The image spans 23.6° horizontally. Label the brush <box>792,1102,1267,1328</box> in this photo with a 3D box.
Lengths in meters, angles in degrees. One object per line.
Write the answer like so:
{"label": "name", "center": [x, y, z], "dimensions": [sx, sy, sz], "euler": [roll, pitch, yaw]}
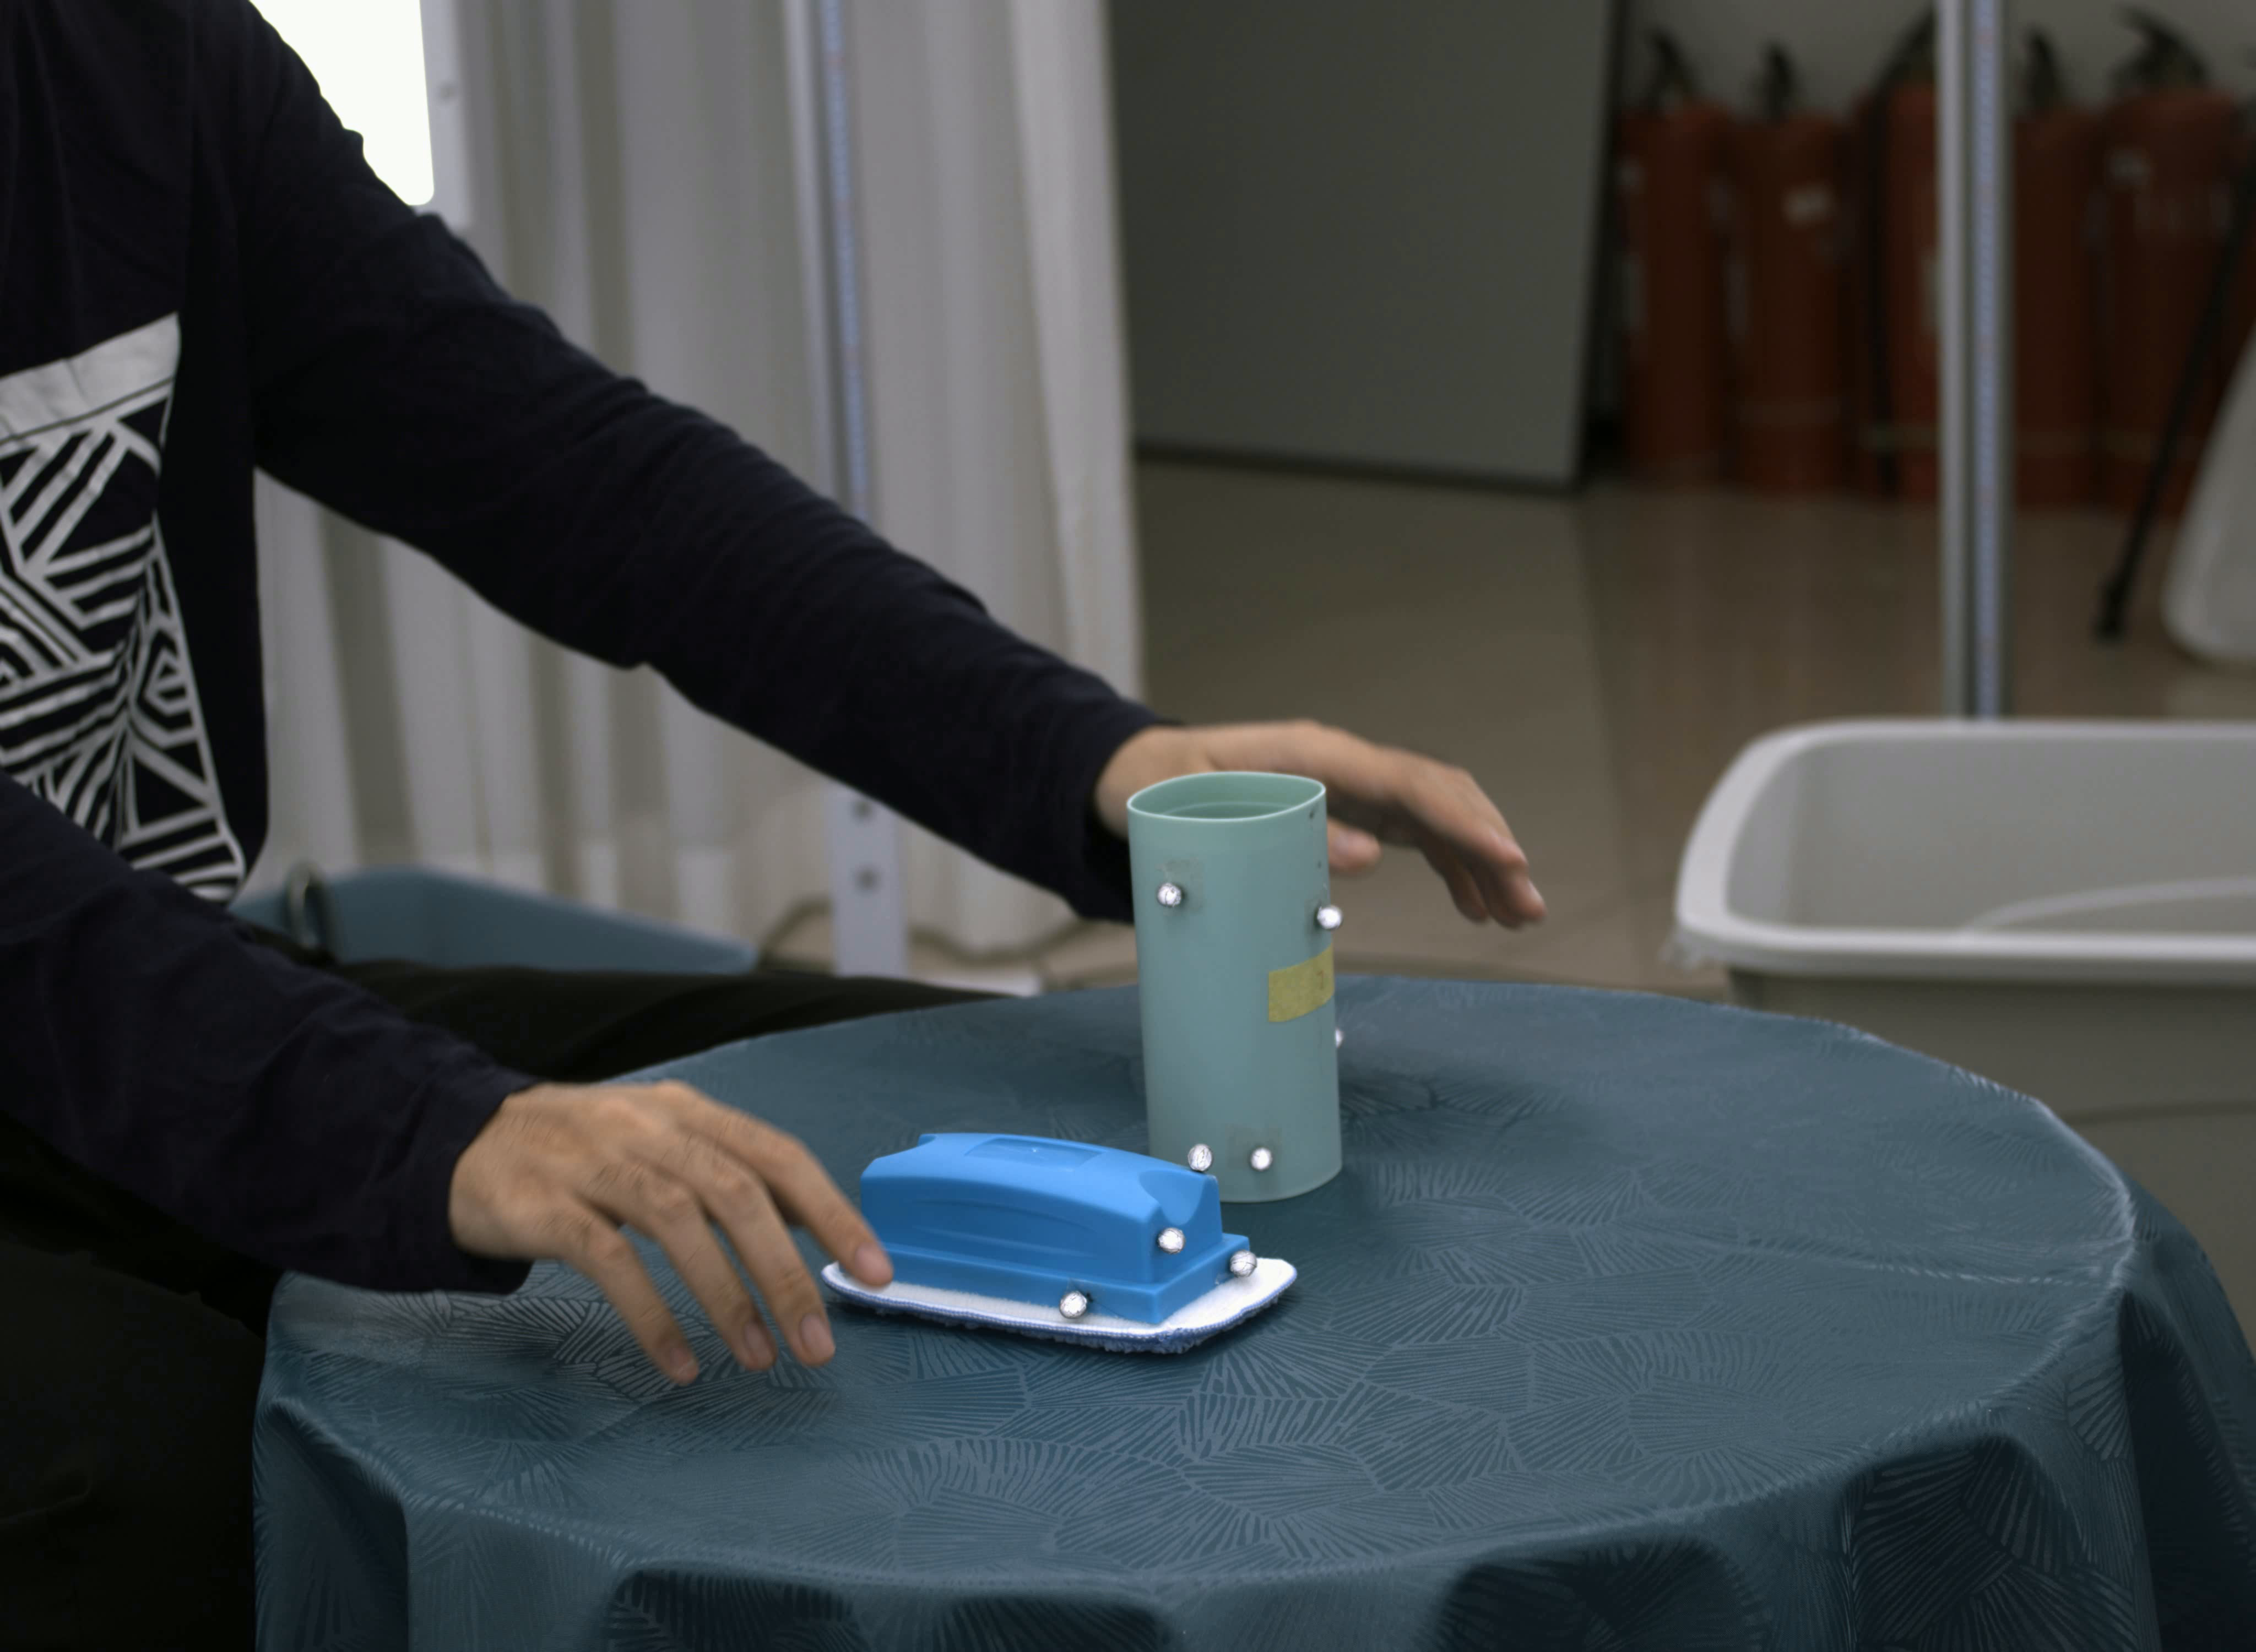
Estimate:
{"label": "brush", "center": [-0.030, 0.119, 1.667], "dimensions": [0.145, 0.056, 0.082], "euler": [9, 16, 35]}

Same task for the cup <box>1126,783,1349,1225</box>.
{"label": "cup", "center": [0.036, 0.058, 1.770], "dimensions": [0.066, 0.134, 0.067], "euler": [-5, 13, 0]}
